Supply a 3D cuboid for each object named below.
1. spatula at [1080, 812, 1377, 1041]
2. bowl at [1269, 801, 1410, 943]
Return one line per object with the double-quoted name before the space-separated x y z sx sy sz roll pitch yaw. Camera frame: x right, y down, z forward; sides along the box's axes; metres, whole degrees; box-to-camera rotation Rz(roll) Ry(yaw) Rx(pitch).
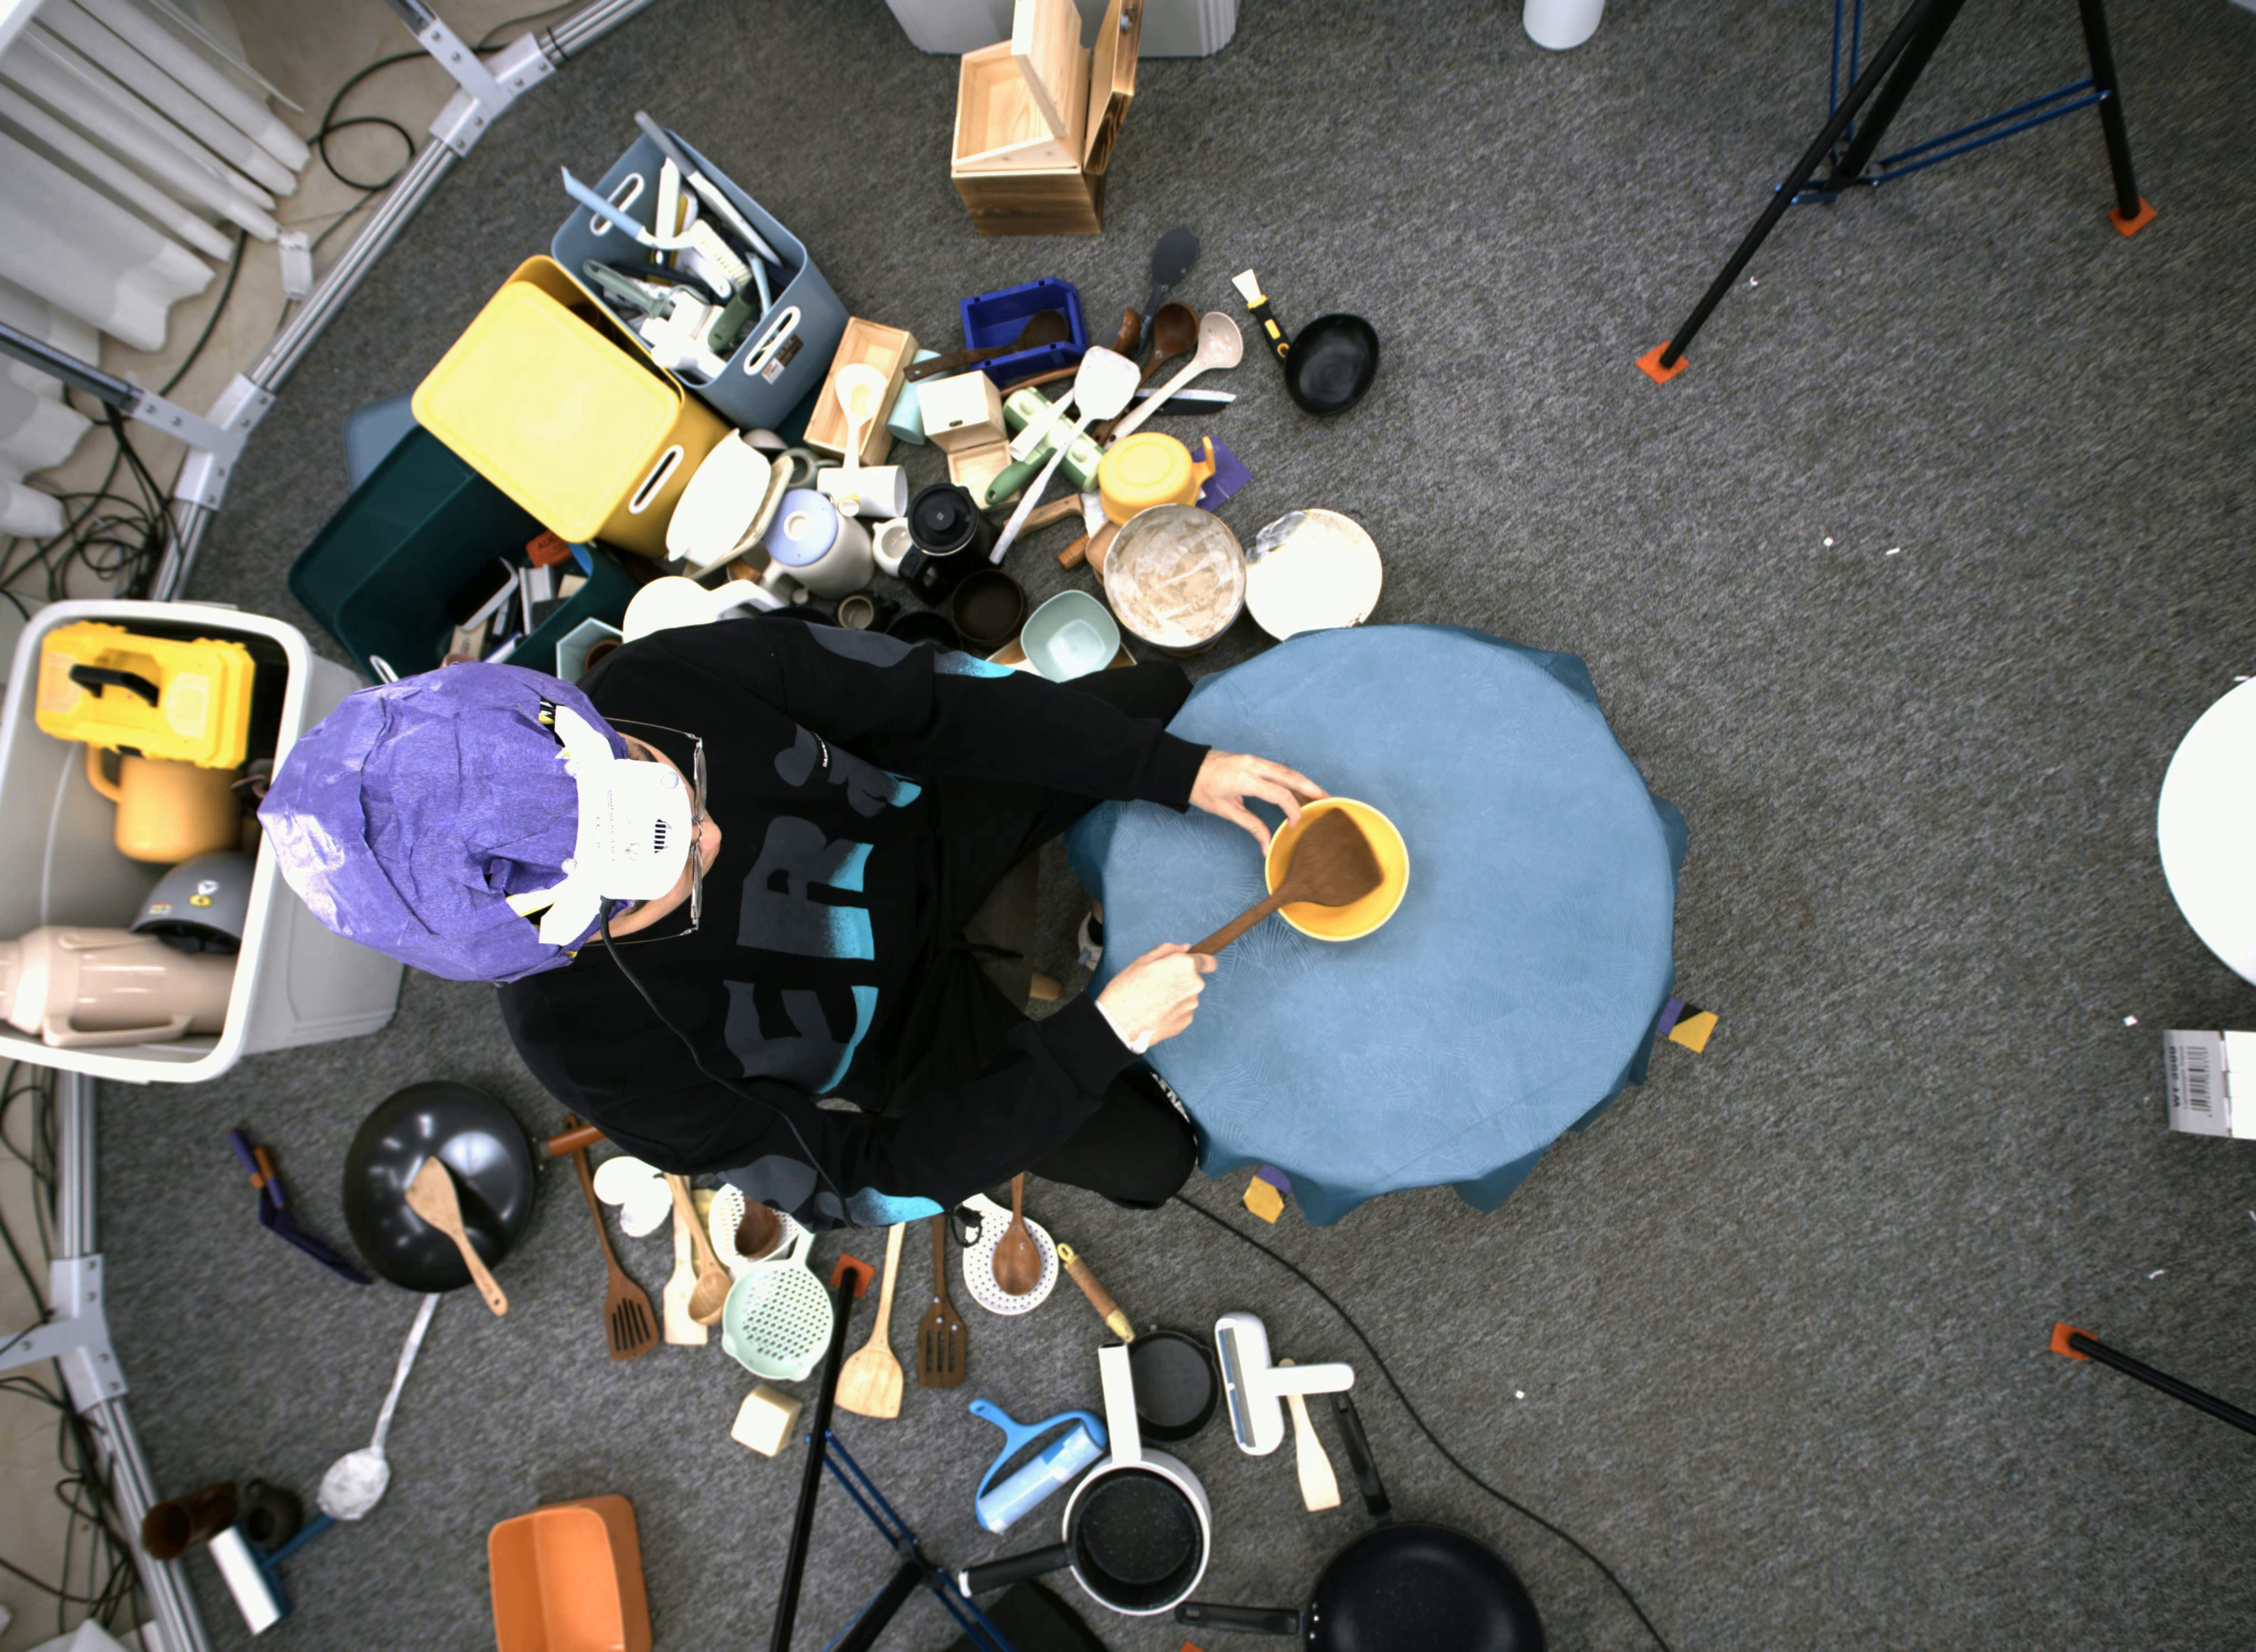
"spatula" 0.102 0.103 1.347 0.379 0.016 0.096 -31 92 -30
"bowl" 0.219 0.047 1.435 0.146 0.060 0.145 0 91 9
